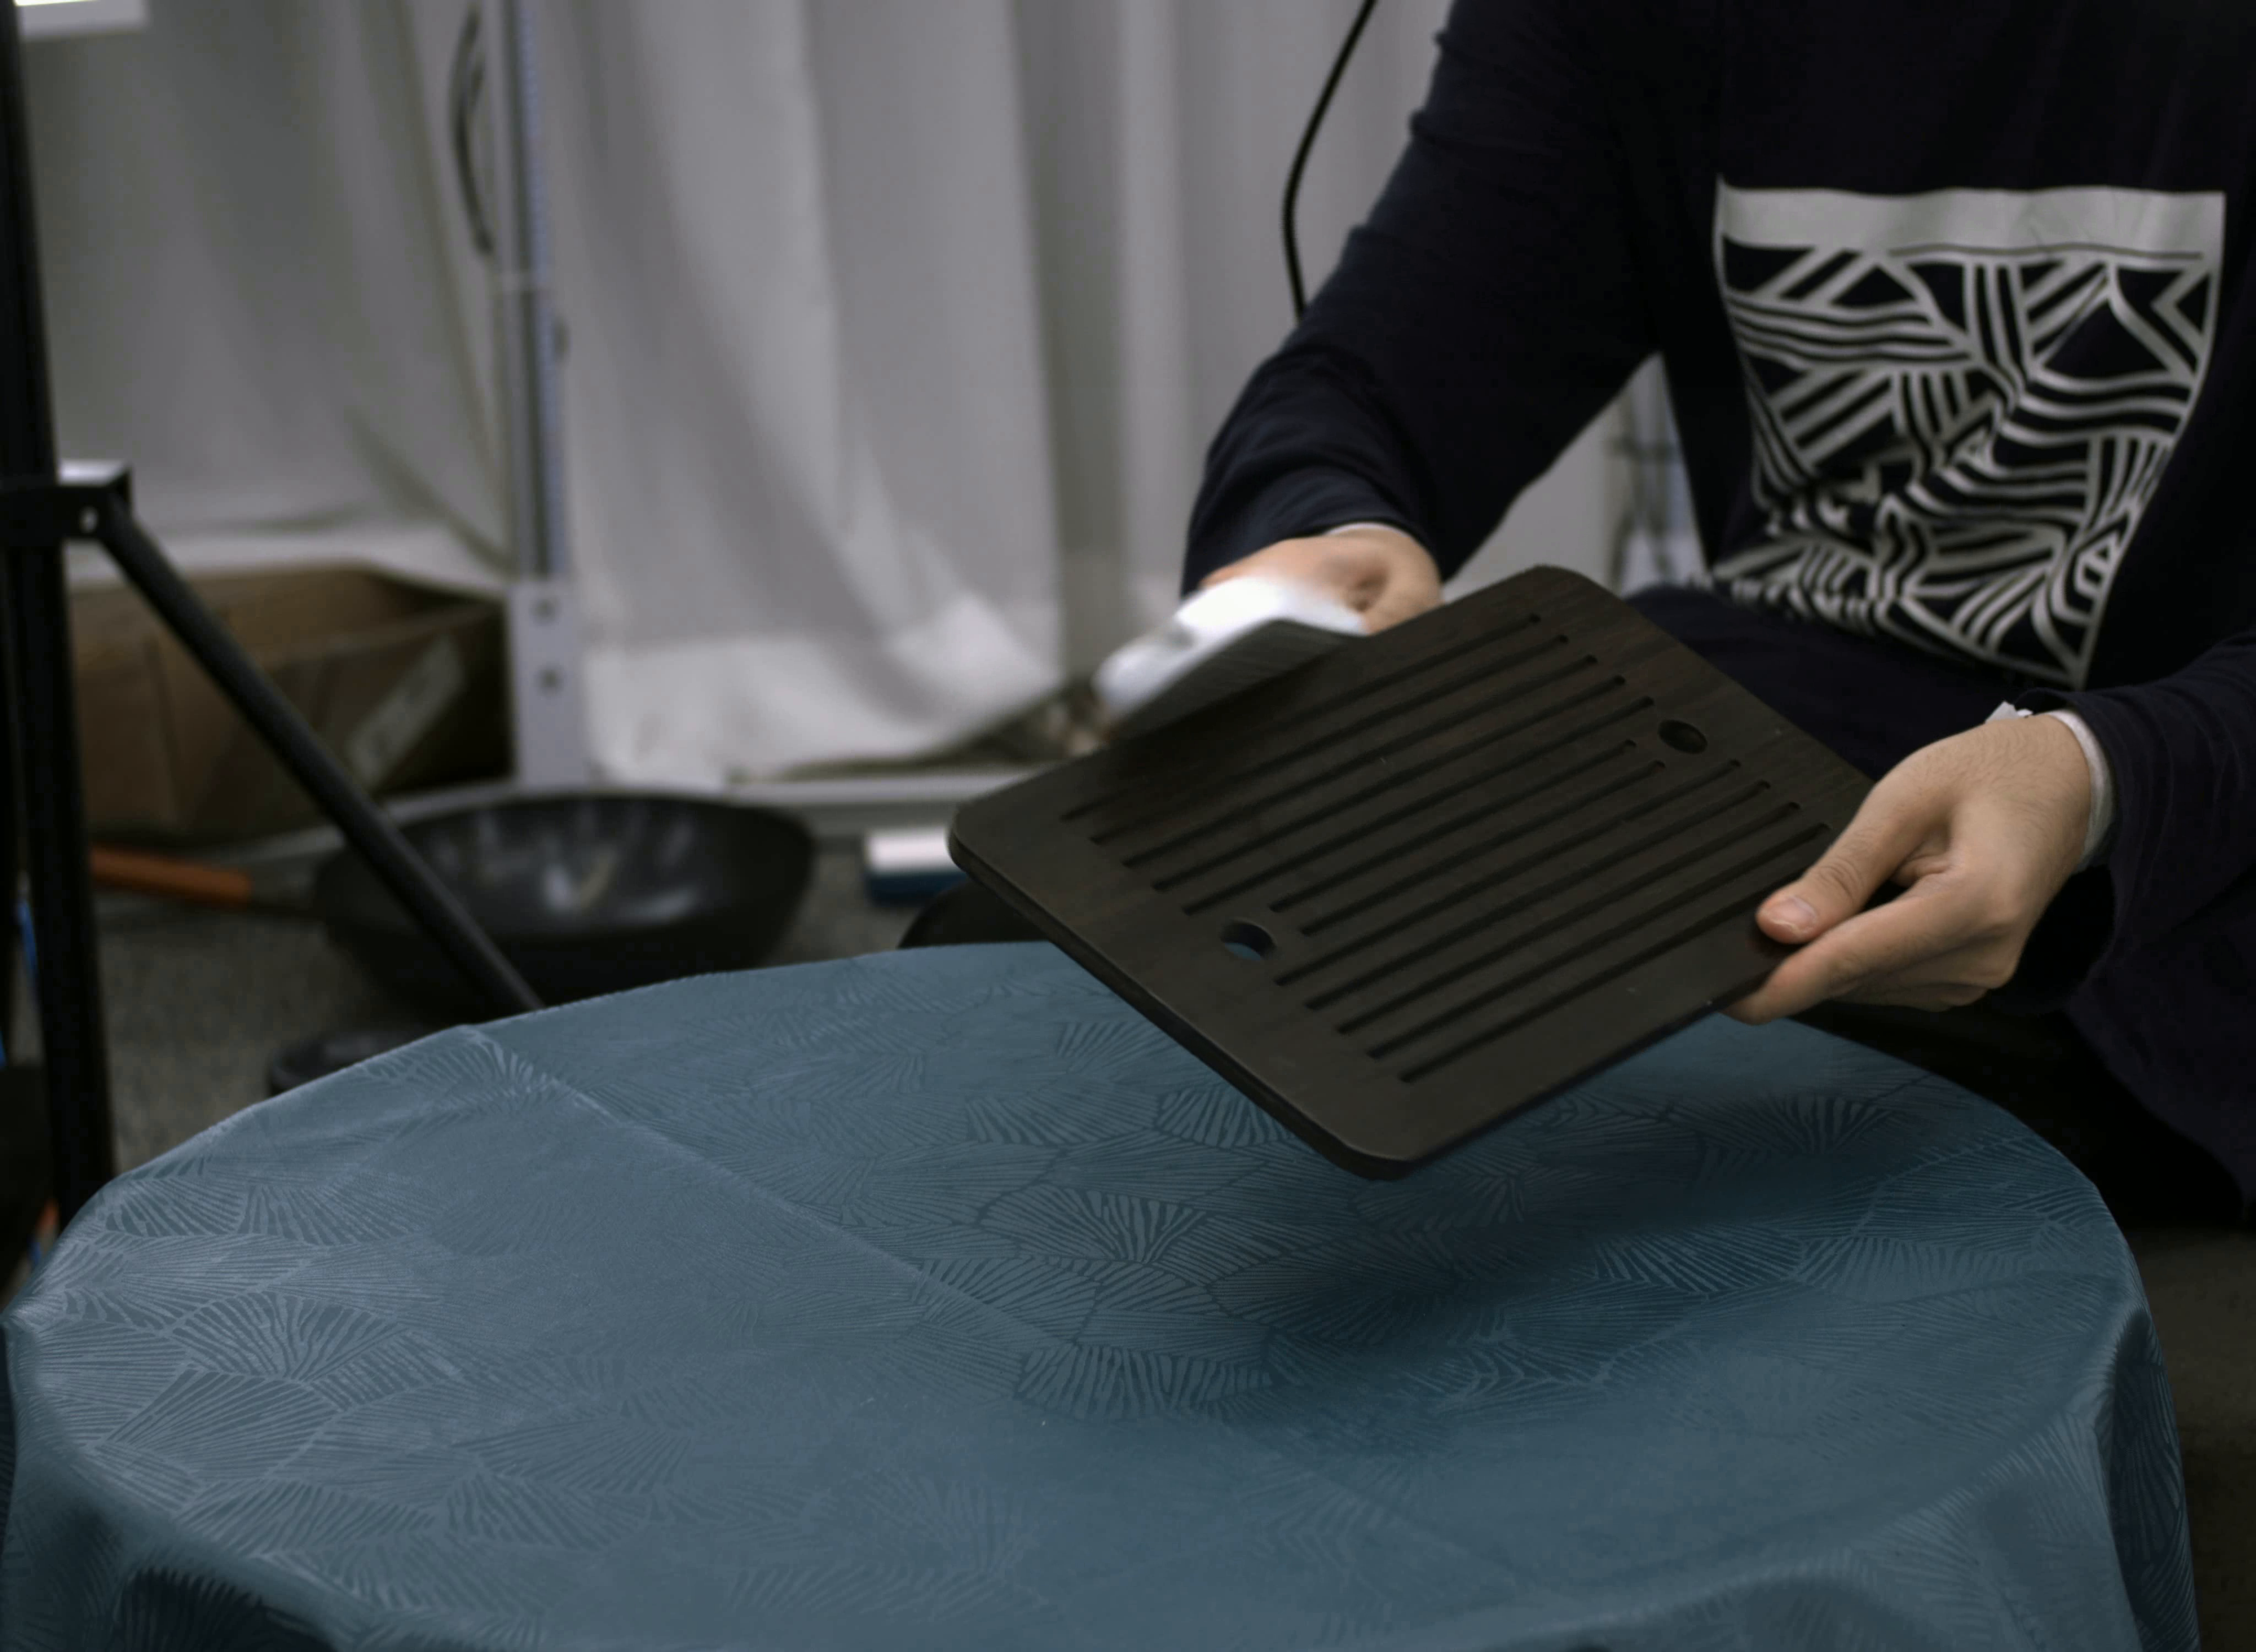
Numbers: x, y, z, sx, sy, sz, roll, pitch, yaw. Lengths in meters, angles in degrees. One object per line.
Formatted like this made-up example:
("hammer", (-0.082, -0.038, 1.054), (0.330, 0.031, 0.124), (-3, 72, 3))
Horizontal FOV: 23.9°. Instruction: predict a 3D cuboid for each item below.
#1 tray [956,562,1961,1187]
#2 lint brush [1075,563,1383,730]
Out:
("tray", (0.101, 0.010, 1.535), (0.173, 0.018, 0.299), (37, 37, 26))
("lint brush", (0.042, -0.052, 1.629), (0.060, 0.021, 0.305), (-40, -9, 11))
